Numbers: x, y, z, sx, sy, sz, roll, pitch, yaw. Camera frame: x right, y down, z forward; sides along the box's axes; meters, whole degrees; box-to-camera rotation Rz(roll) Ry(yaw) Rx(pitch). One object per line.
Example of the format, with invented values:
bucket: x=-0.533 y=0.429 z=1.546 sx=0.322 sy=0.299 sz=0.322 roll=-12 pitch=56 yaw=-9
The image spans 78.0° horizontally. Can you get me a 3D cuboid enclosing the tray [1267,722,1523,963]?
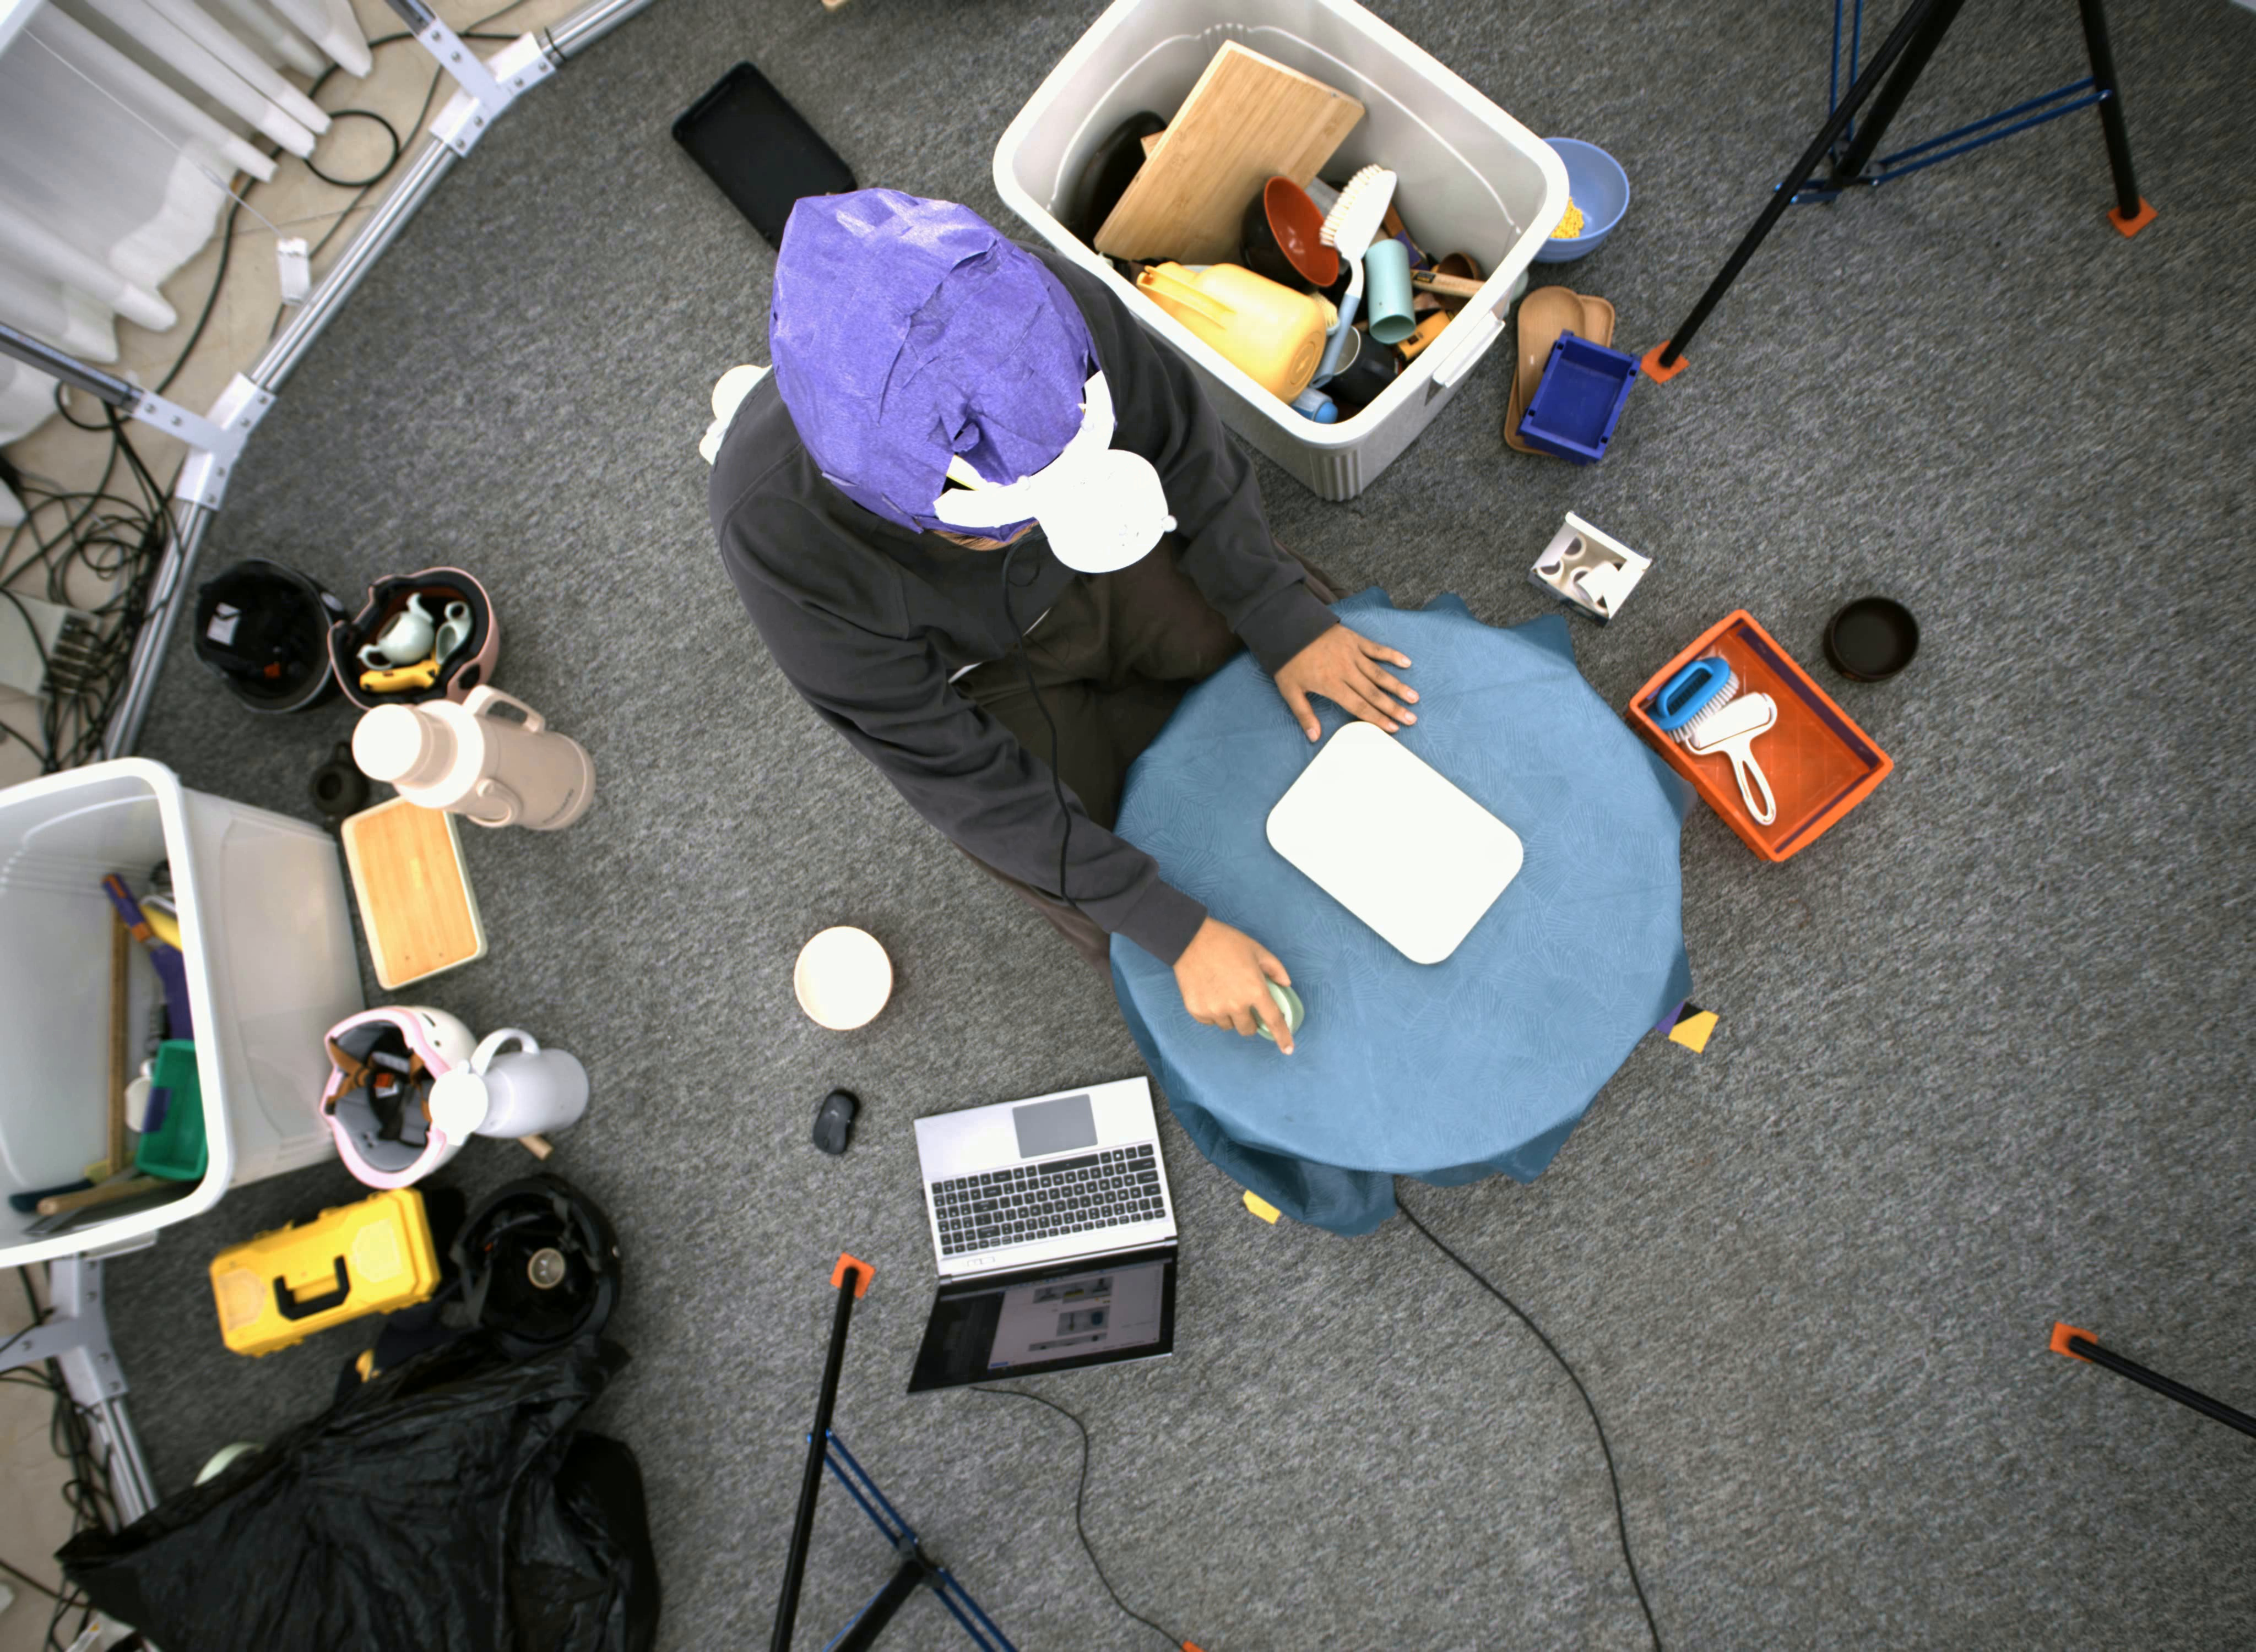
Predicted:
tray: x=0.279 y=0.015 z=1.453 sx=0.239 sy=0.017 sz=0.172 roll=40 pitch=94 yaw=11

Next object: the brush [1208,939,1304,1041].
brush: x=0.135 y=0.172 z=1.454 sx=0.060 sy=0.076 sz=0.121 roll=-43 pitch=66 yaw=3
